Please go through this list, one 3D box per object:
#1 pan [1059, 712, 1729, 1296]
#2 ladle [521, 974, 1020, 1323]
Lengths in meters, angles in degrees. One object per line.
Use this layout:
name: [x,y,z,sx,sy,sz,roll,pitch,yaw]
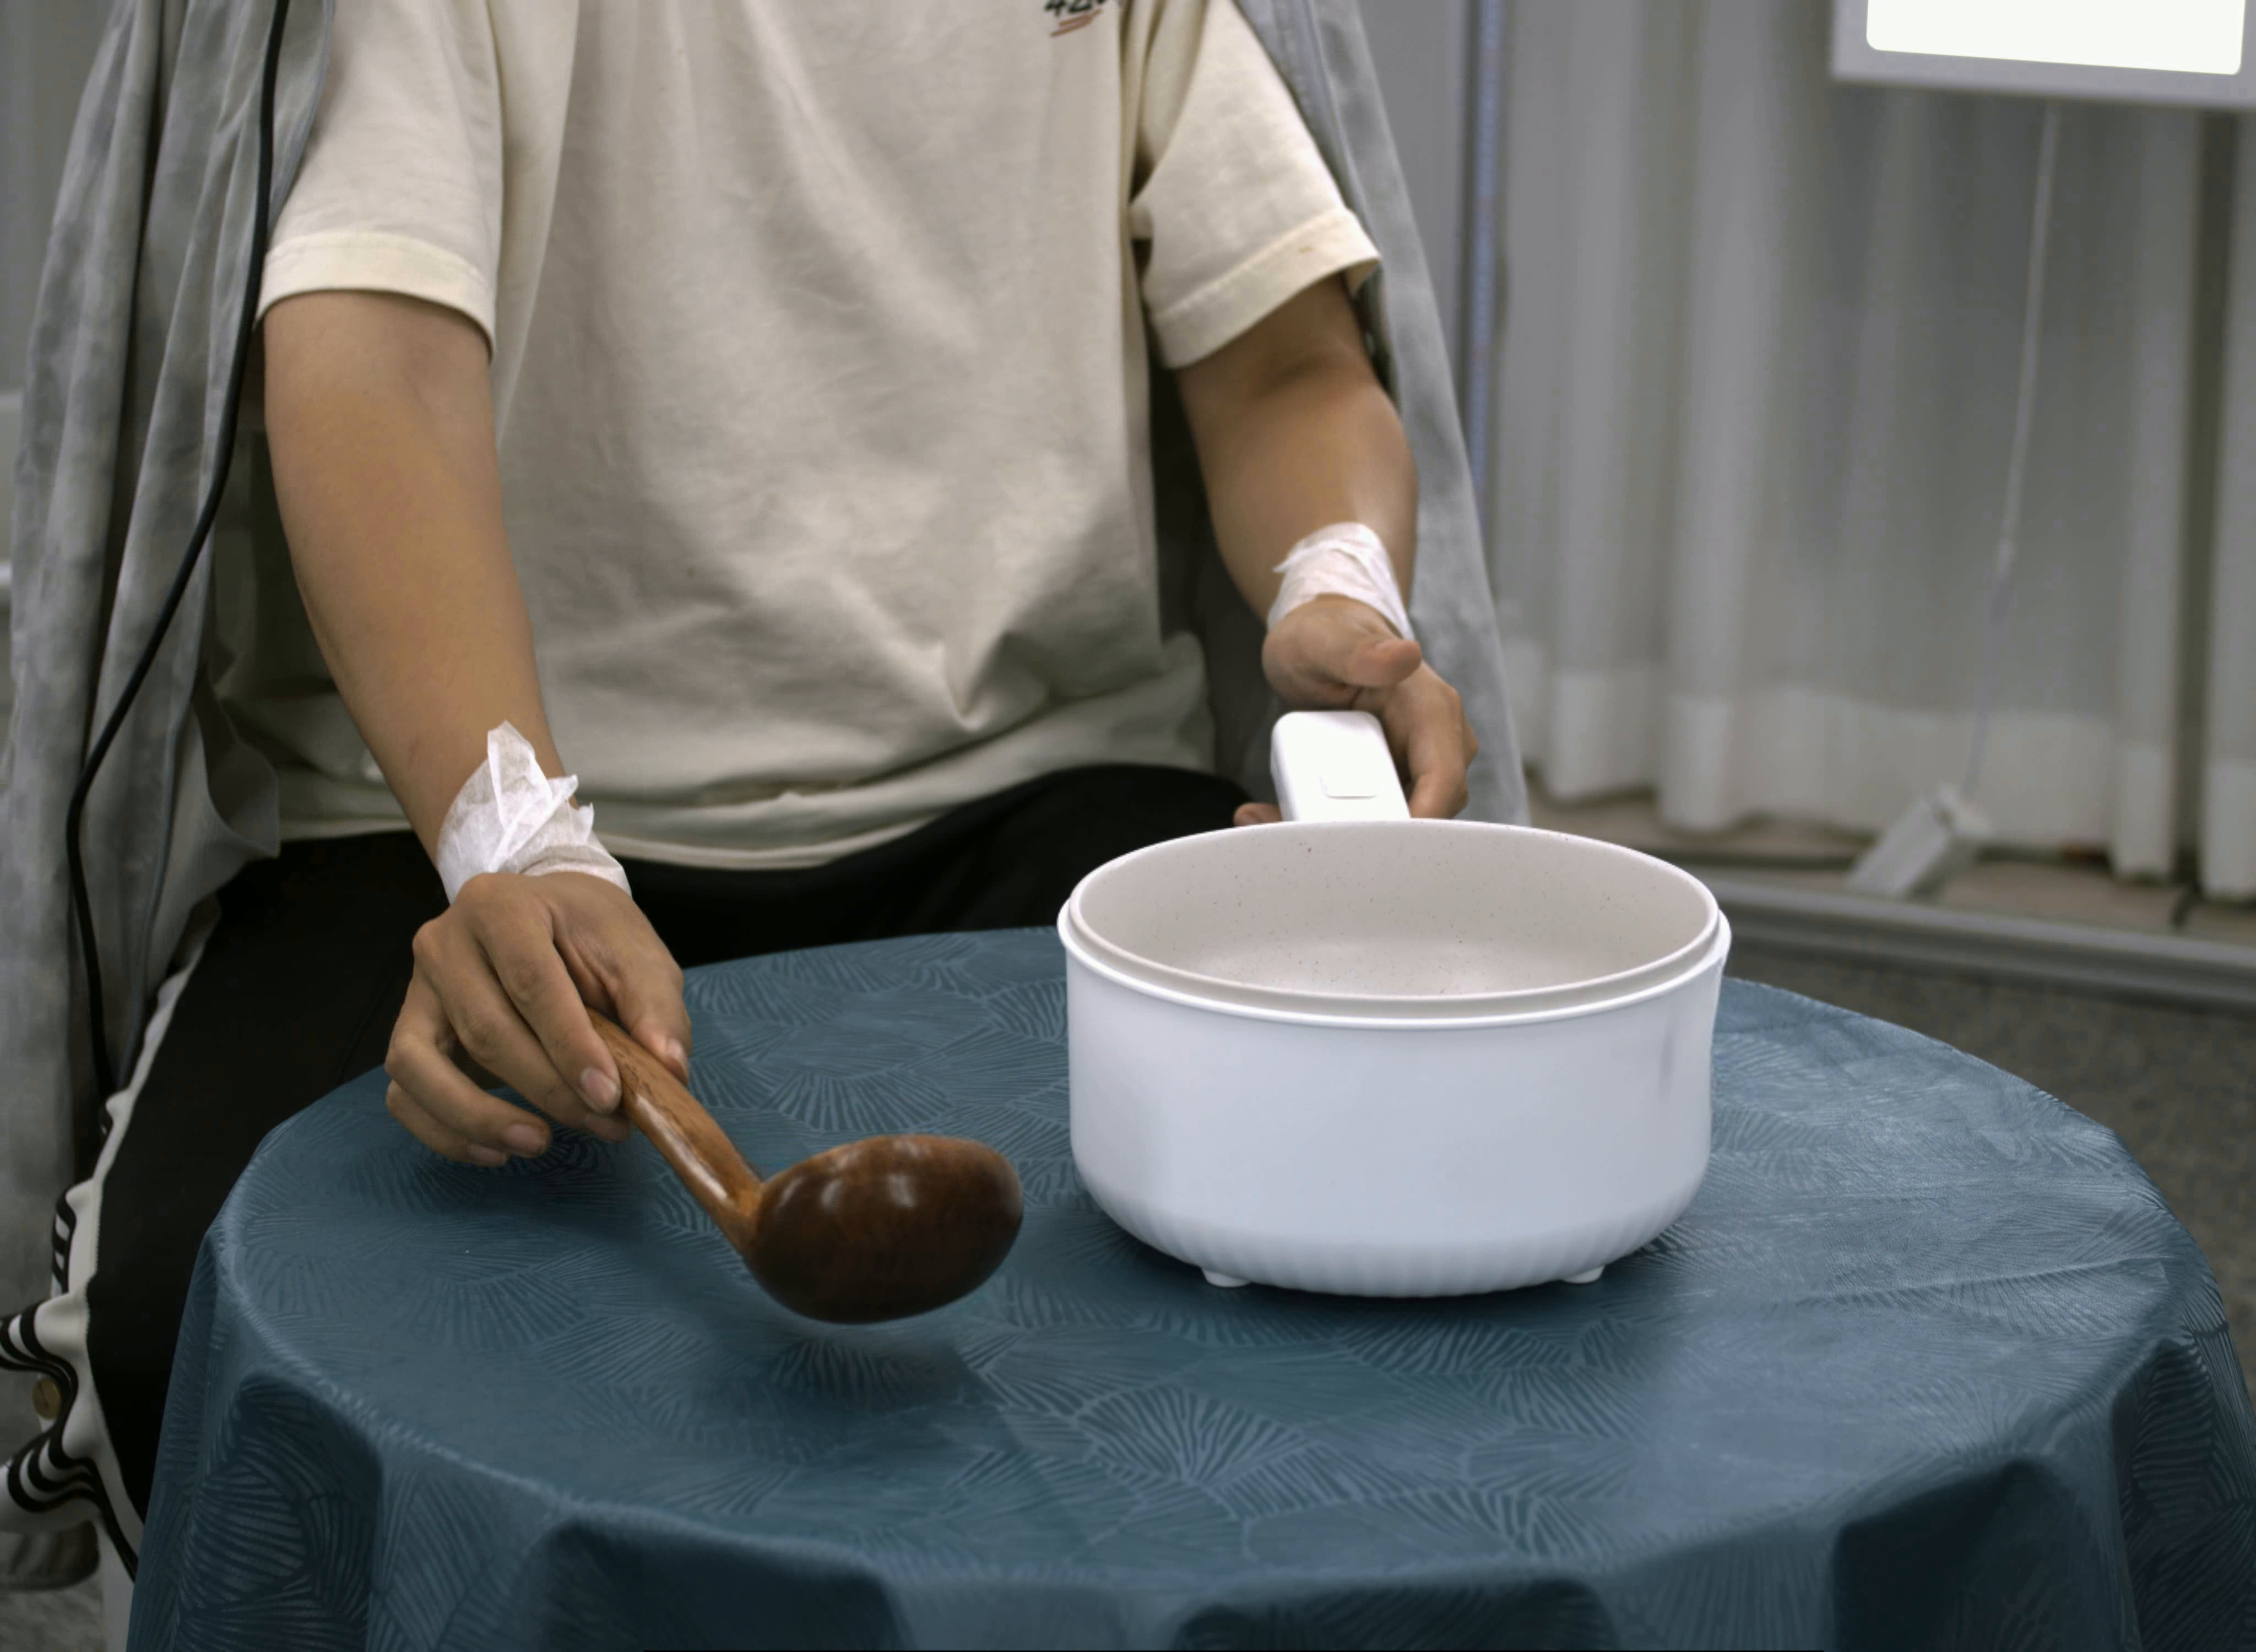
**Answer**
pan: [0.077,0.051,1.662,0.201,0.103,0.352,-1,15,-2]
ladle: [-0.117,0.072,1.542,0.082,0.077,0.270,14,15,-32]
